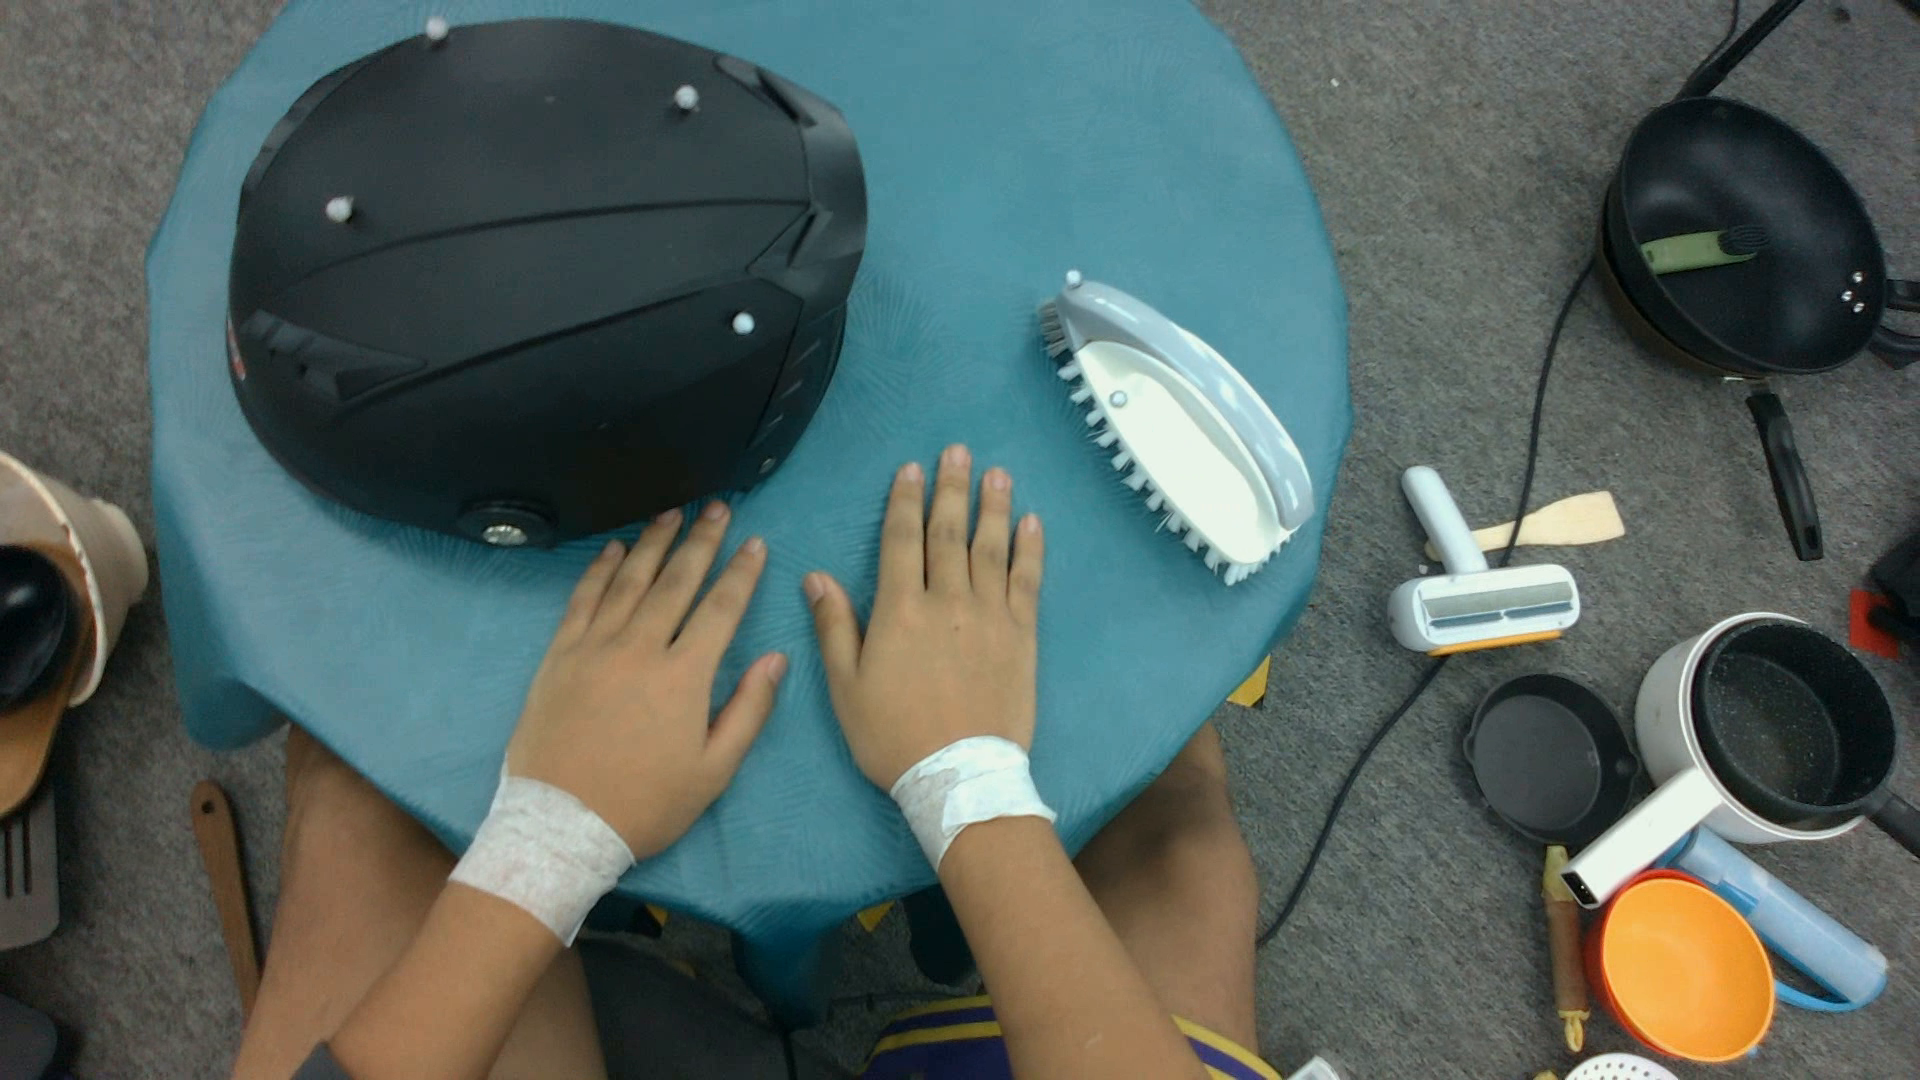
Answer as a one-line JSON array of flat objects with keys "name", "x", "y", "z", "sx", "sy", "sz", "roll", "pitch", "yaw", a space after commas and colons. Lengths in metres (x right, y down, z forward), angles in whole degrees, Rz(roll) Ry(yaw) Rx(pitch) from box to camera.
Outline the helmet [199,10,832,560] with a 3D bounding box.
[{"name": "helmet", "x": -0.196, "y": -0.127, "z": 0.602, "sx": 0.277, "sy": 0.171, "sz": 0.247, "roll": -6, "pitch": 72, "yaw": -16}]

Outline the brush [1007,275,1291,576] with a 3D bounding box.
[{"name": "brush", "x": 0.090, "y": -0.070, "z": 0.669, "sx": 0.061, "sy": 0.094, "sz": 0.175, "roll": -38, "pitch": 79, "yaw": -21}]
